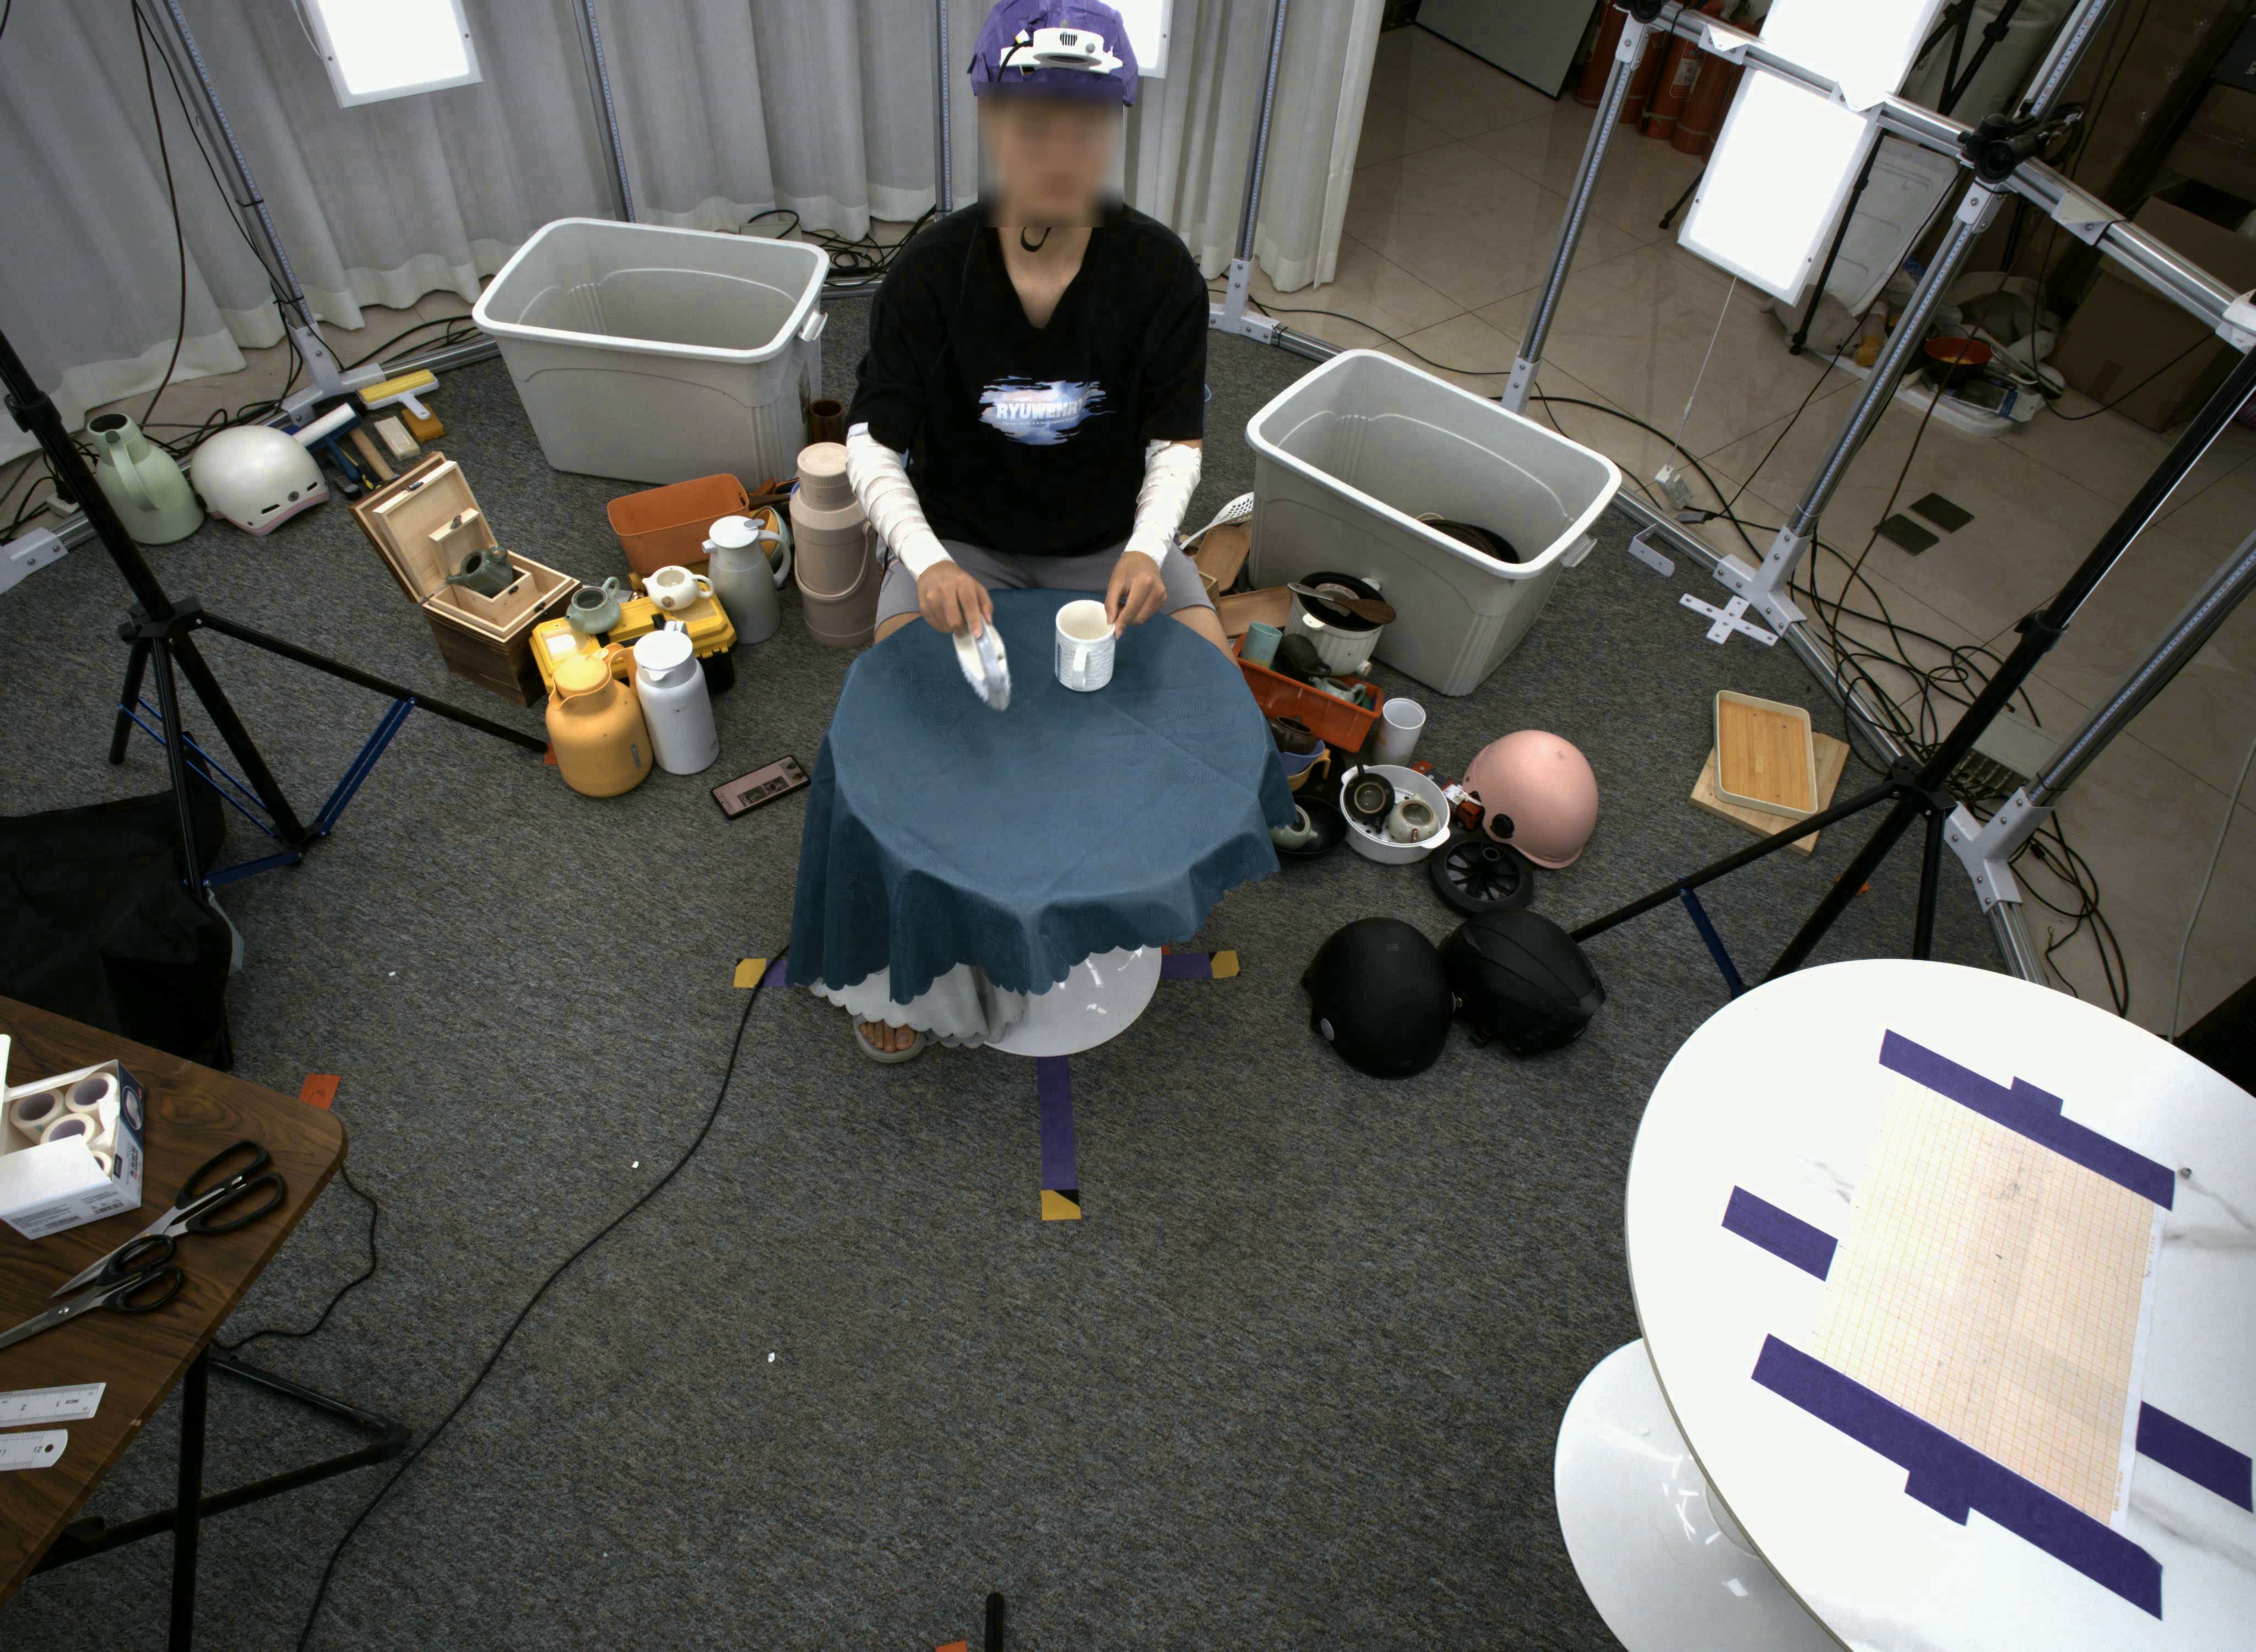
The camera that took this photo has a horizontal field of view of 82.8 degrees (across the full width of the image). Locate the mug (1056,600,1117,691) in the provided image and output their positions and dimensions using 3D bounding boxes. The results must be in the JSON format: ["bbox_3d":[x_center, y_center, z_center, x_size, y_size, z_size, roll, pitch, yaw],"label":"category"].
[{"bbox_3d":[-0.062,-0.242,1.811,0.085,0.099,0.121,6,51,1],"label":"mug"}]

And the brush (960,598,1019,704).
[{"bbox_3d":[-0.187,-0.242,1.725,0.061,0.092,0.180,-22,42,-3],"label":"brush"}]
